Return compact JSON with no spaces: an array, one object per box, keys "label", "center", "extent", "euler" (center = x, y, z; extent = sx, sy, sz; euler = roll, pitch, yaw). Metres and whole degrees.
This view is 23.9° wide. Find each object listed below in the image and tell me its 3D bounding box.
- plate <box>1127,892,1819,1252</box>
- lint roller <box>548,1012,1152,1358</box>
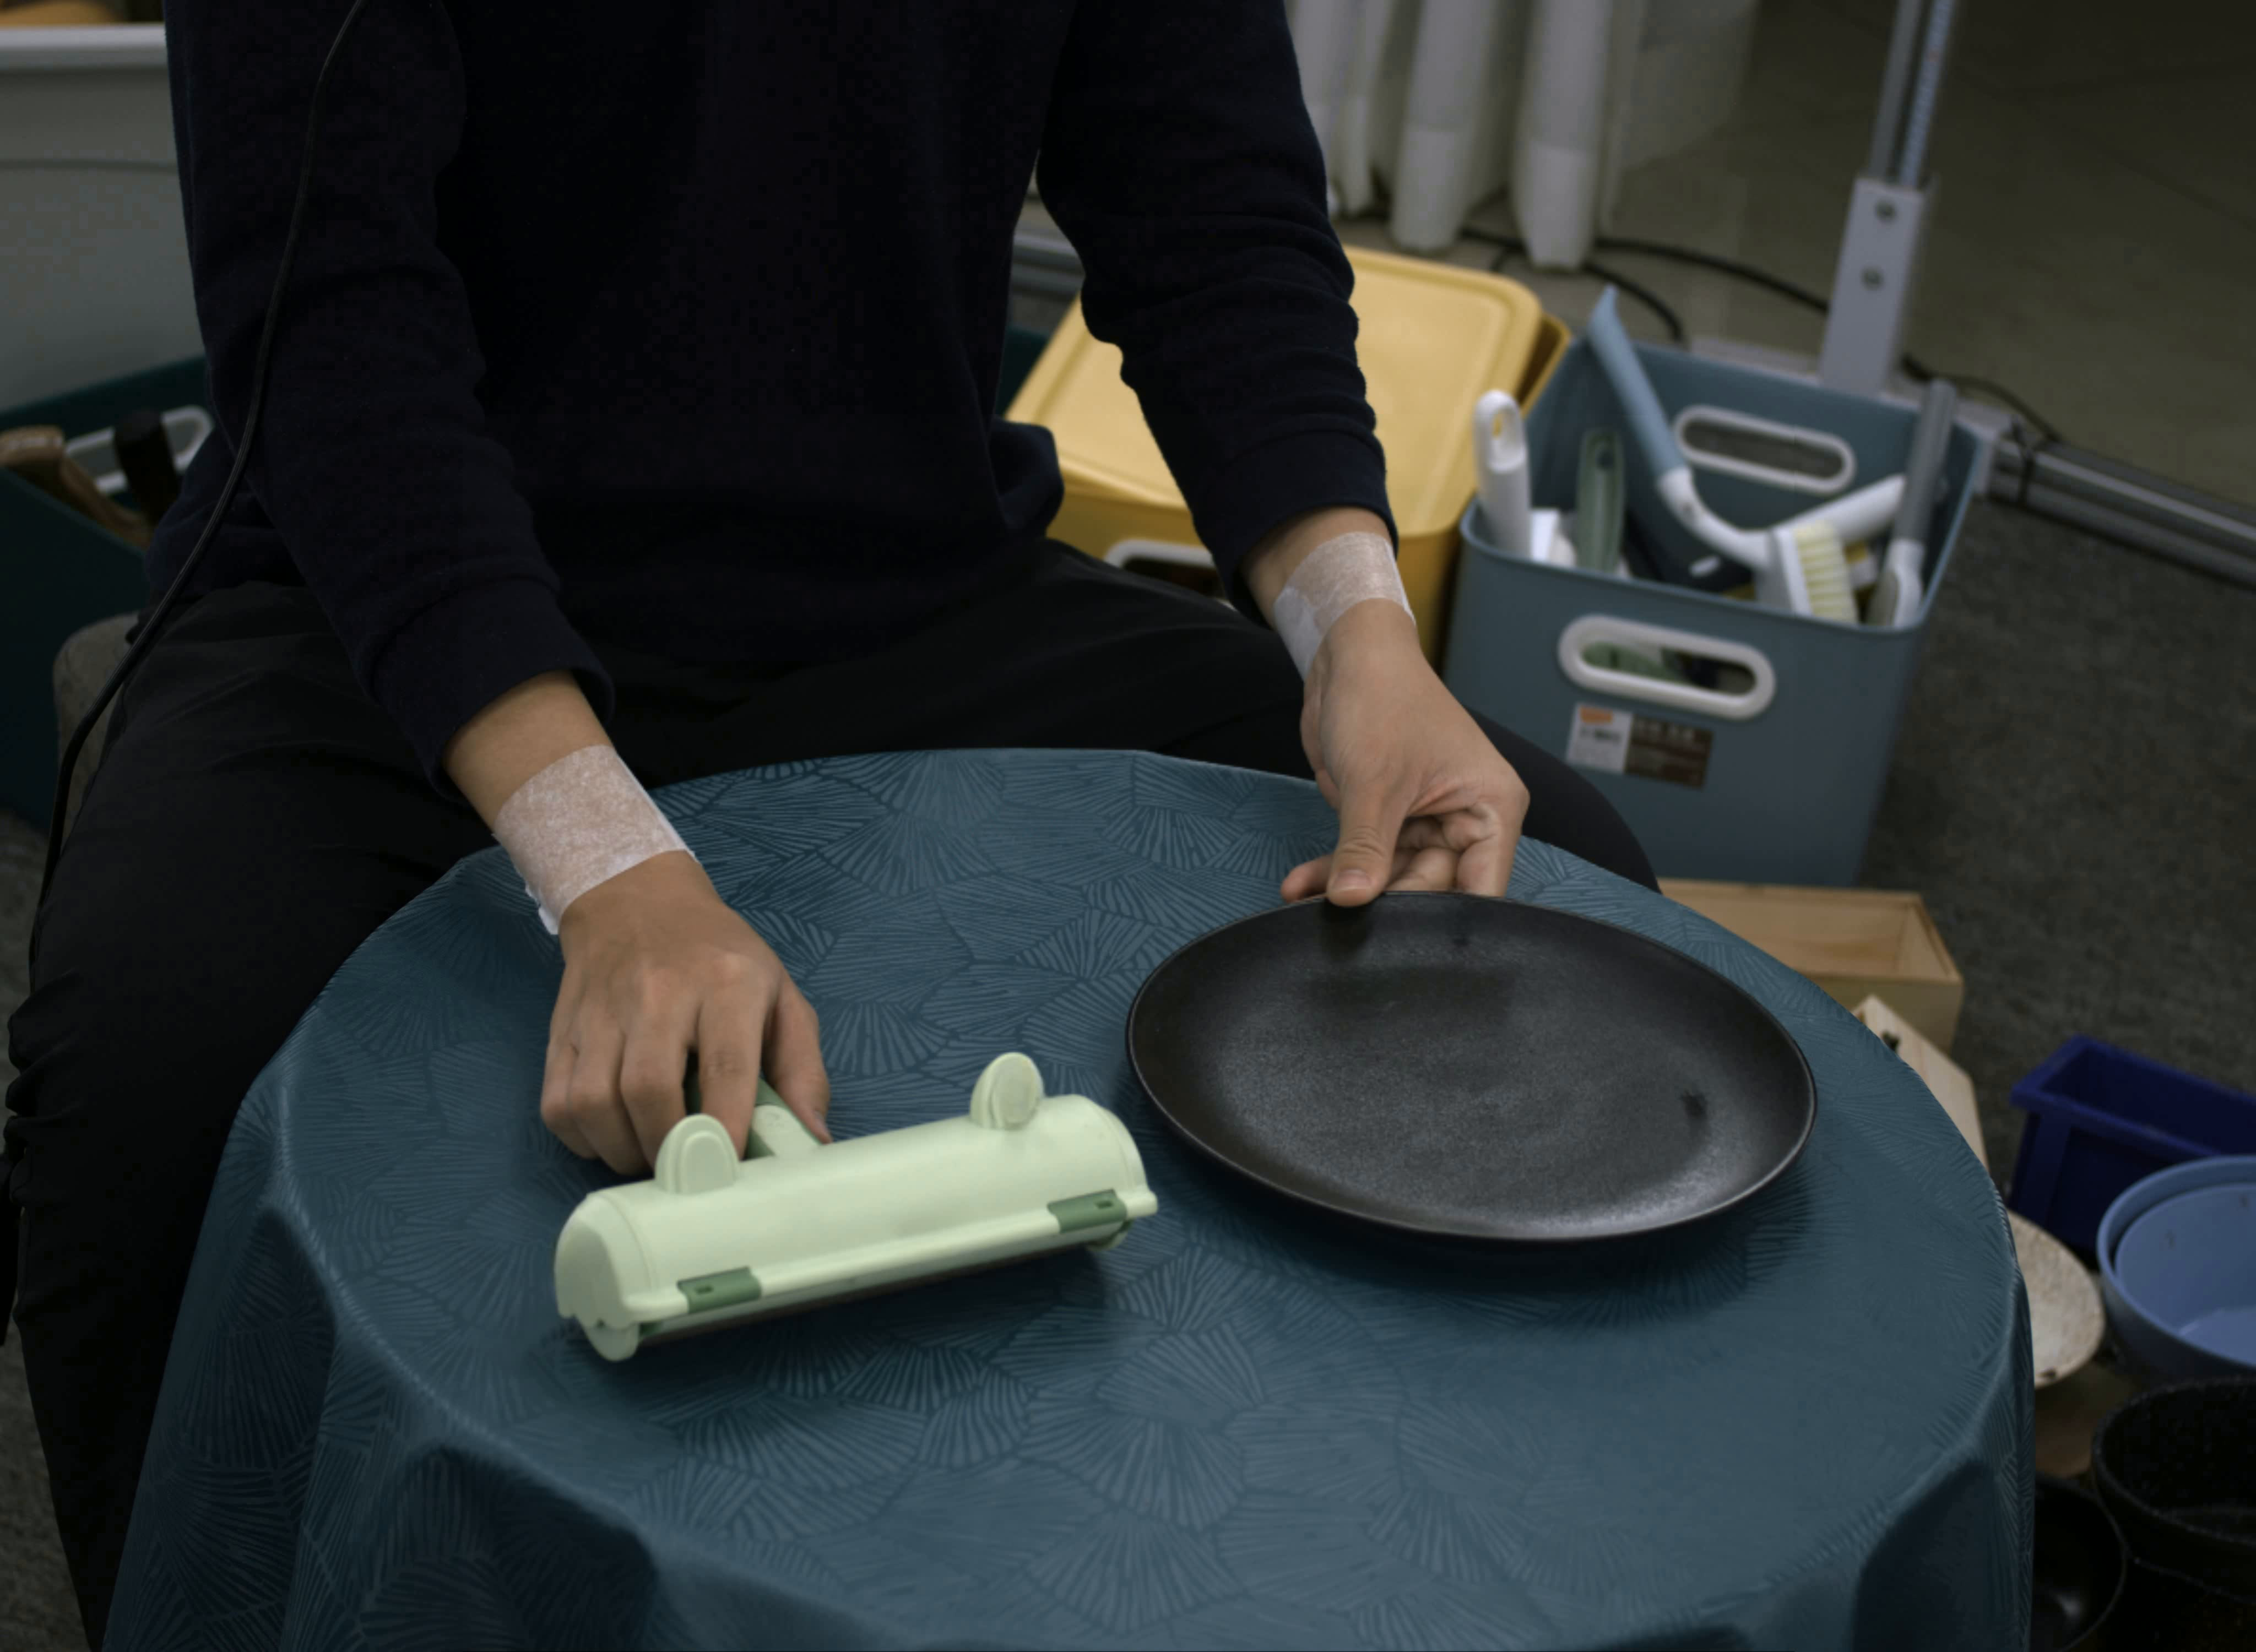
[{"label":"plate","center":[0.120,0.090,1.863],"extent":[0.243,0.023,0.246],"euler":[4,27,-2]},{"label":"lint roller","center":[-0.116,0.092,1.745],"extent":[0.197,0.082,0.185],"euler":[-10,37,-31]}]
